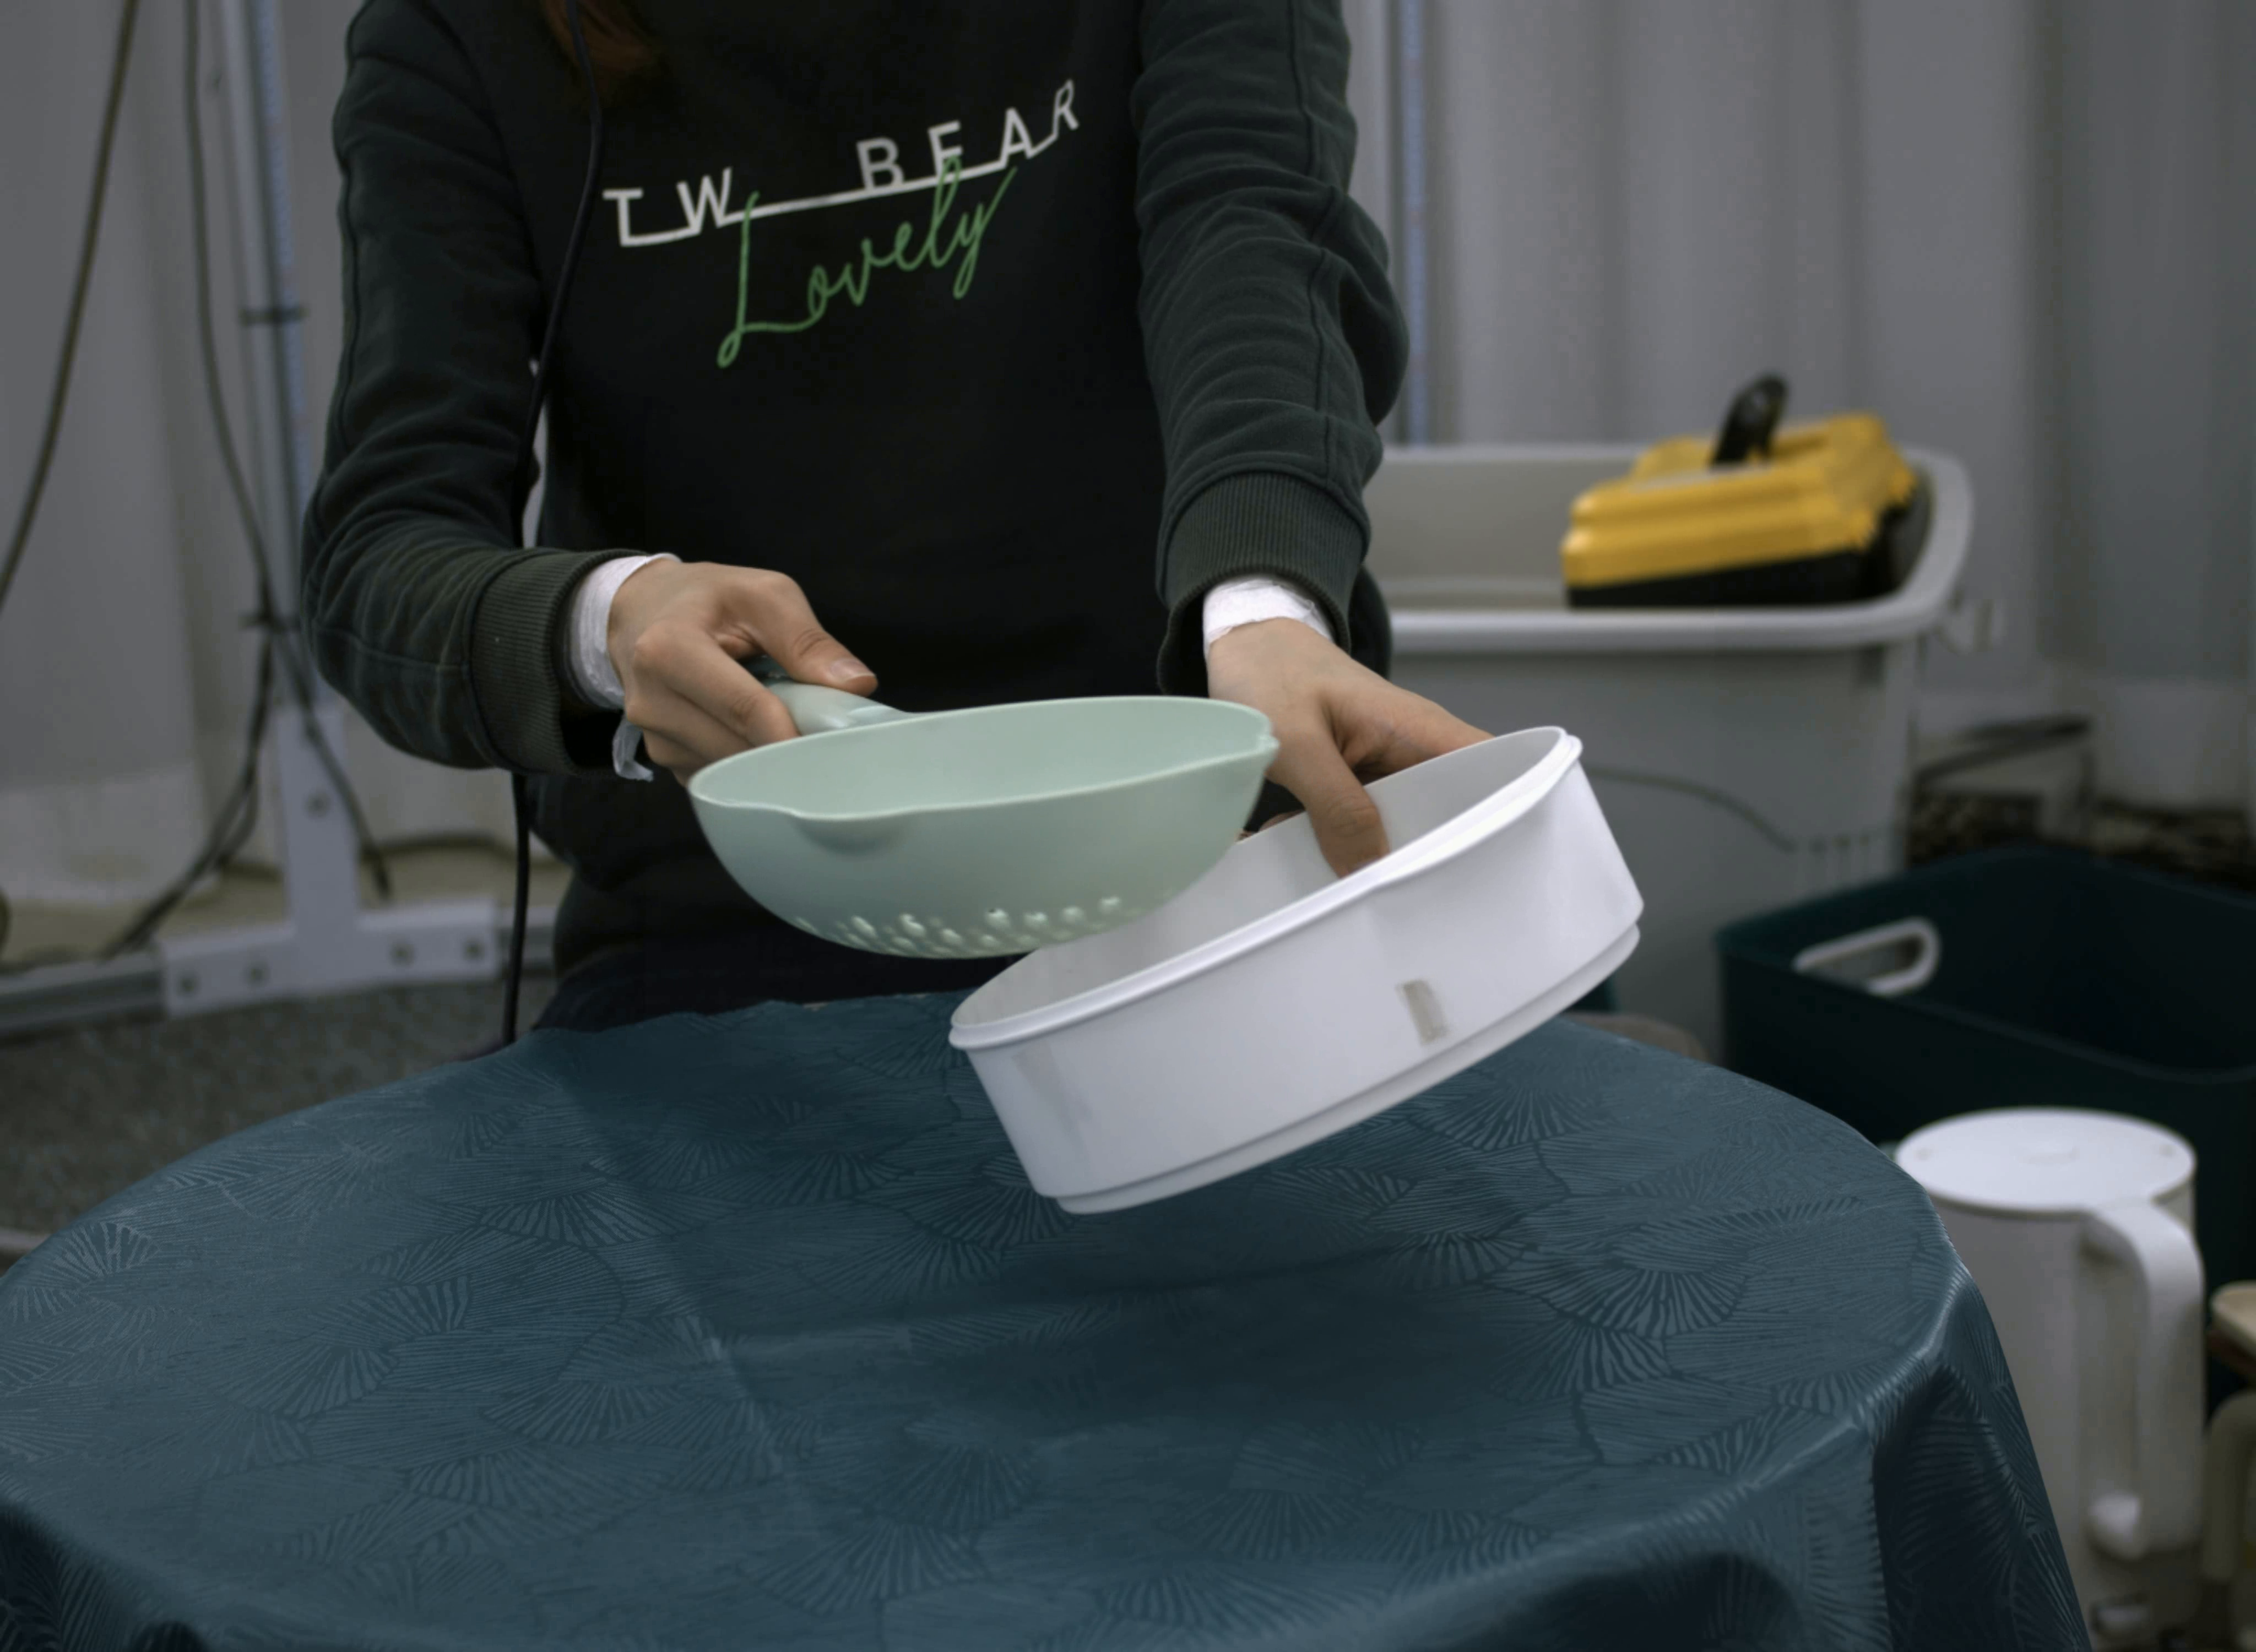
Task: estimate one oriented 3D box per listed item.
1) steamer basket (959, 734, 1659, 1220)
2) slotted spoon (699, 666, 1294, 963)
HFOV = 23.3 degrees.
[{"bbox_3d":[0.054,0.045,1.561,0.202,0.069,0.230,-28,6,-37],"label":"steamer basket"},{"bbox_3d":[-0.071,-0.020,1.667,0.168,0.075,0.362,-8,17,-18],"label":"slotted spoon"}]
